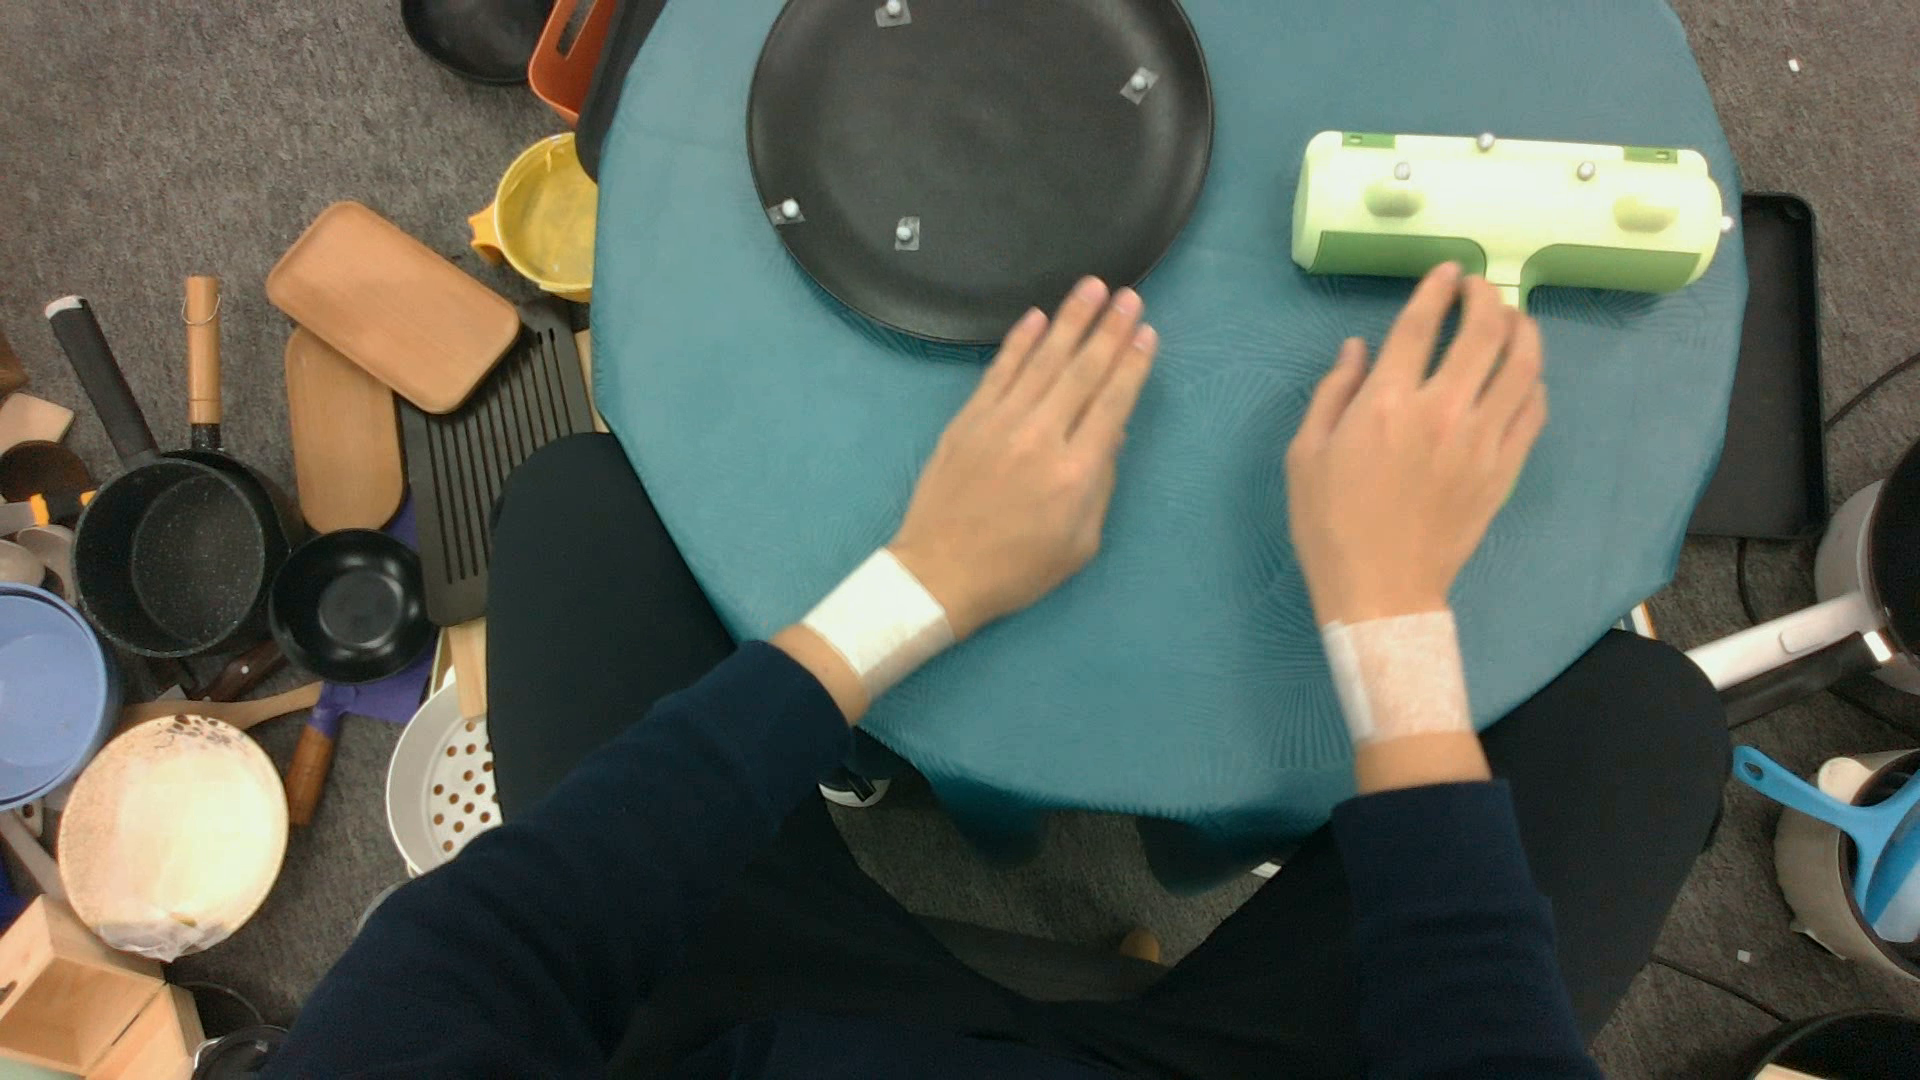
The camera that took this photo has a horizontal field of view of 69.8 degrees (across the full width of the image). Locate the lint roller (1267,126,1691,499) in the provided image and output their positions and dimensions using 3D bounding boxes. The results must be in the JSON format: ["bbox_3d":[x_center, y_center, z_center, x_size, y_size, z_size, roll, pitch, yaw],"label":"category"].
[{"bbox_3d":[0.252,-0.117,0.665,0.198,0.082,0.184,2,74,4],"label":"lint roller"}]

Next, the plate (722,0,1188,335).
[{"bbox_3d":[-0.003,-0.222,0.725,0.244,0.023,0.245,0,80,2],"label":"plate"}]
